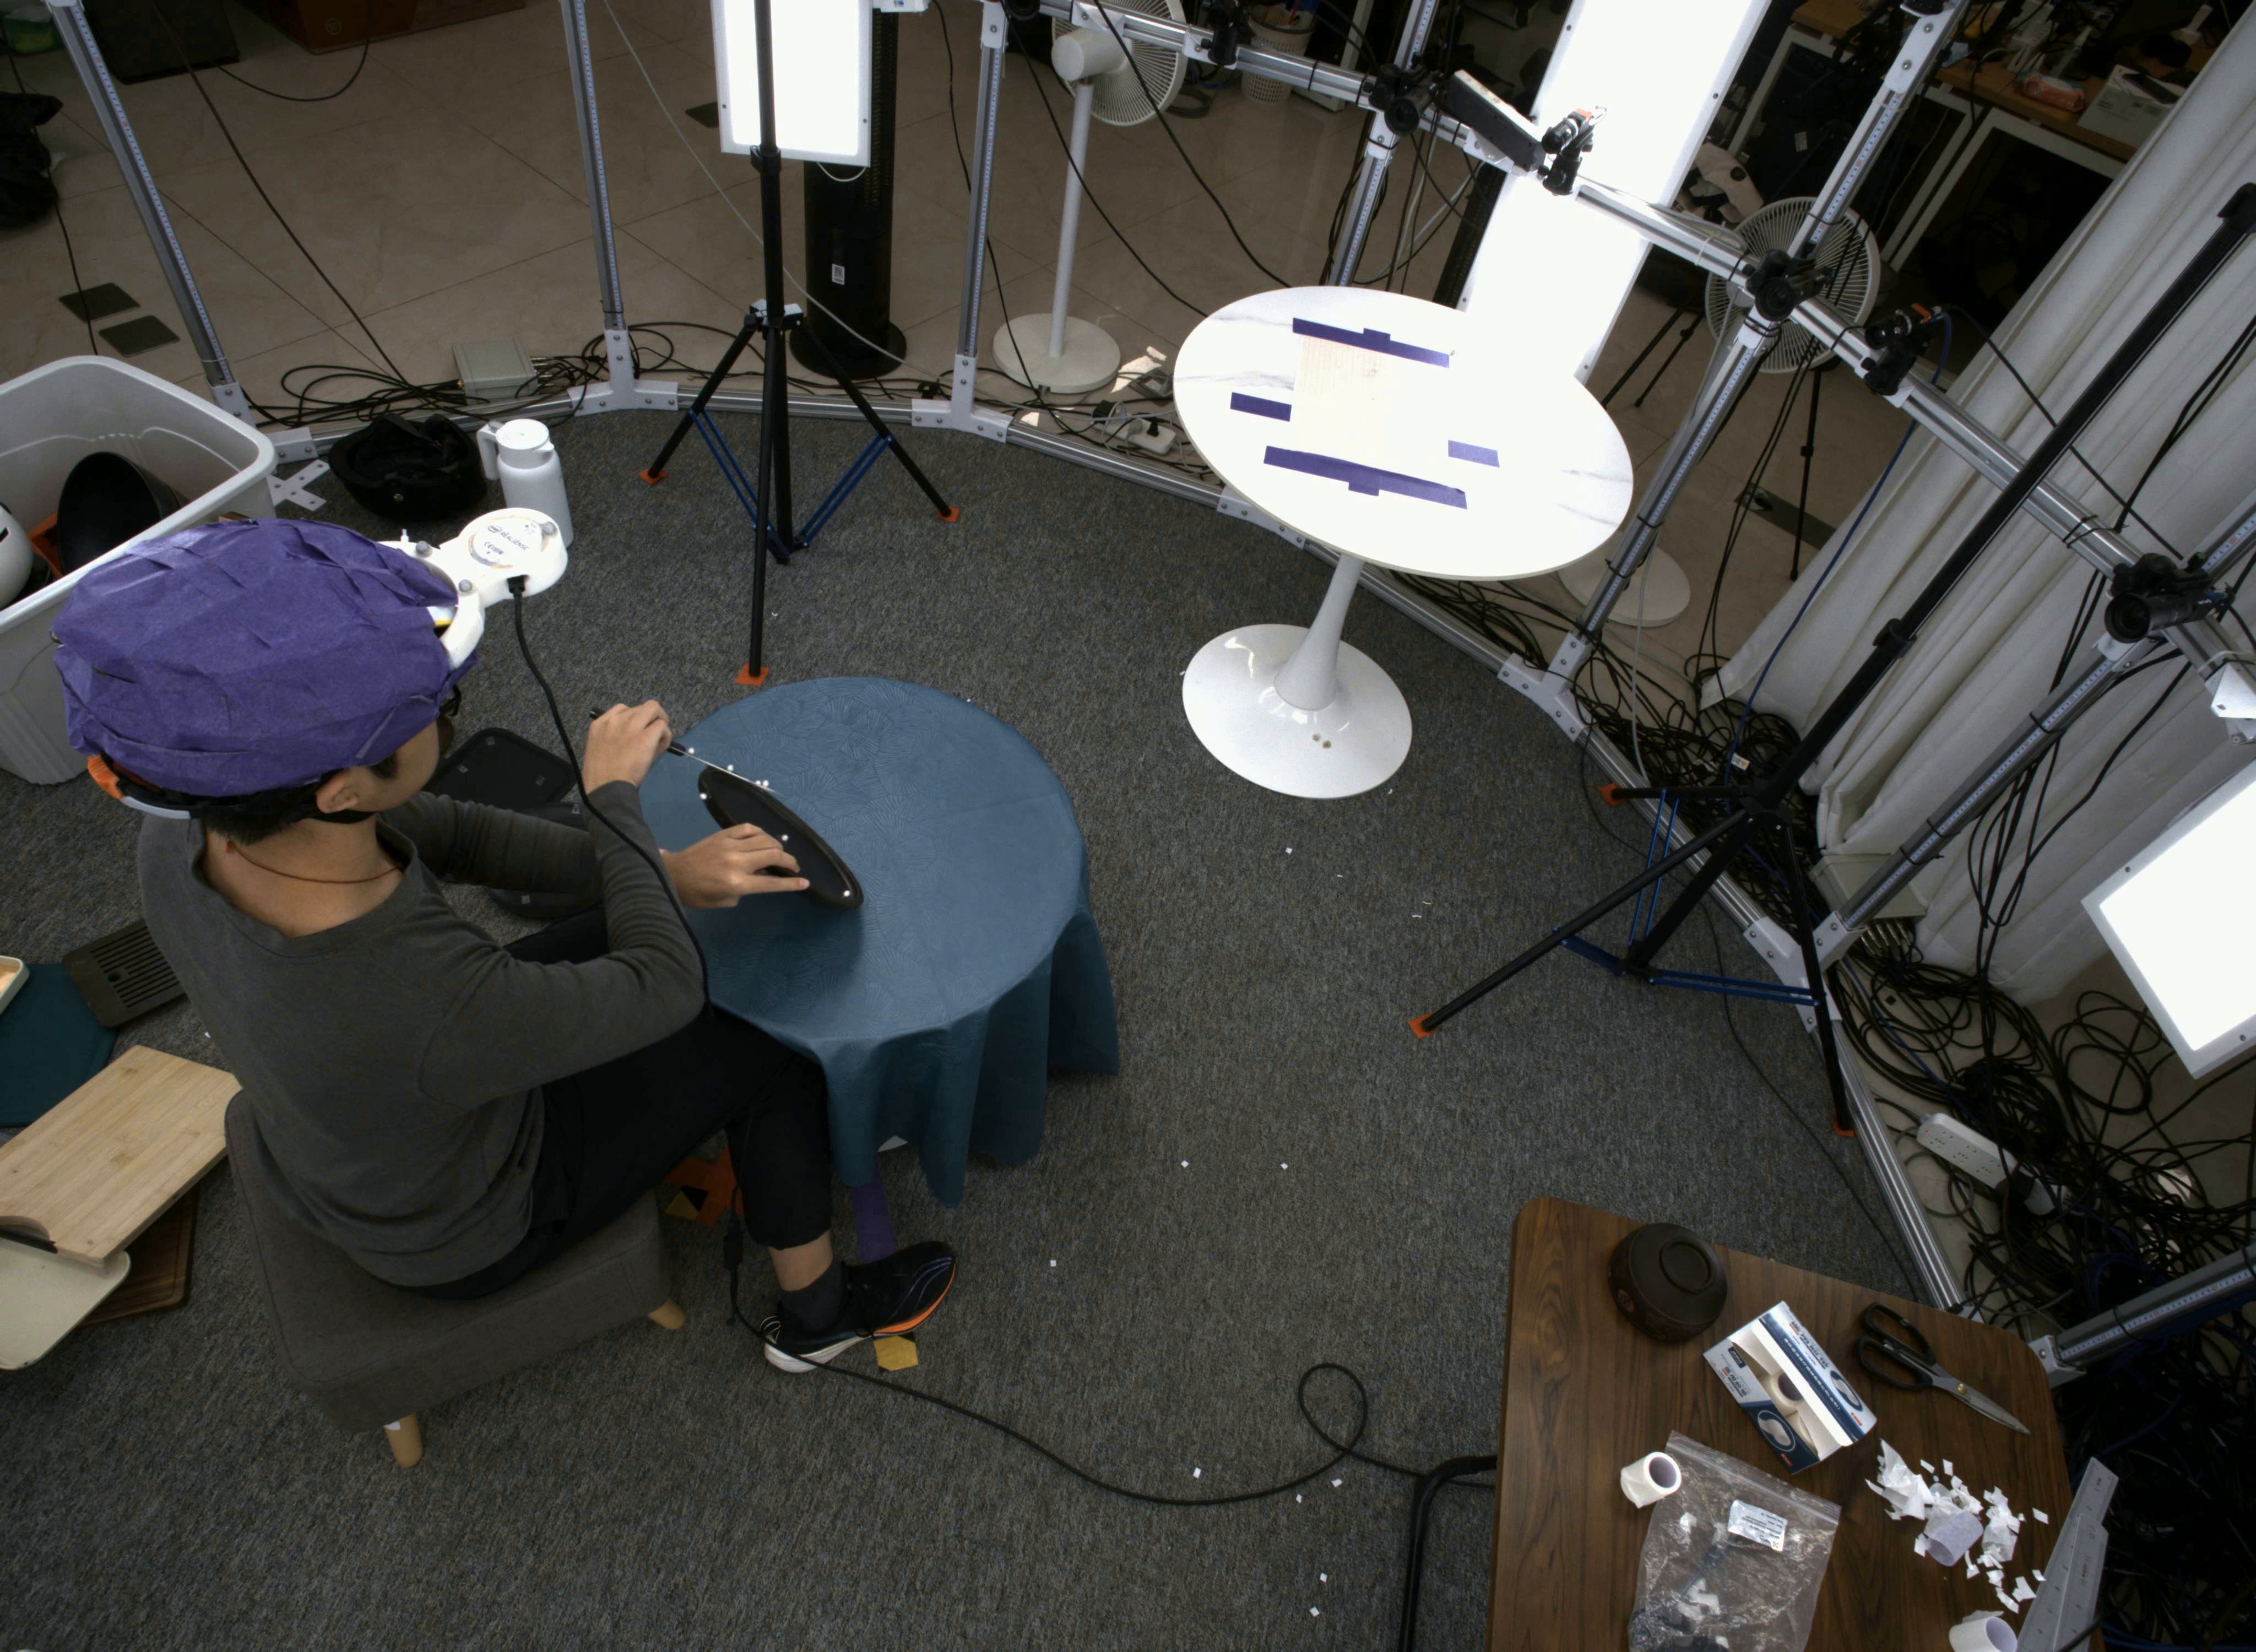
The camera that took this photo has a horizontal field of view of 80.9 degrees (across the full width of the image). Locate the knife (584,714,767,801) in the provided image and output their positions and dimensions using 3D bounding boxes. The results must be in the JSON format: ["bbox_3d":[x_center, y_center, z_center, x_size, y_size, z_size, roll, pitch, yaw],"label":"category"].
[{"bbox_3d":[-0.530,-0.080,1.491,0.240,0.024,0.016,25,80,-13],"label":"knife"}]

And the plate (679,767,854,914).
[{"bbox_3d":[-0.446,0.019,1.587,0.249,0.260,0.029,42,93,19],"label":"plate"}]
